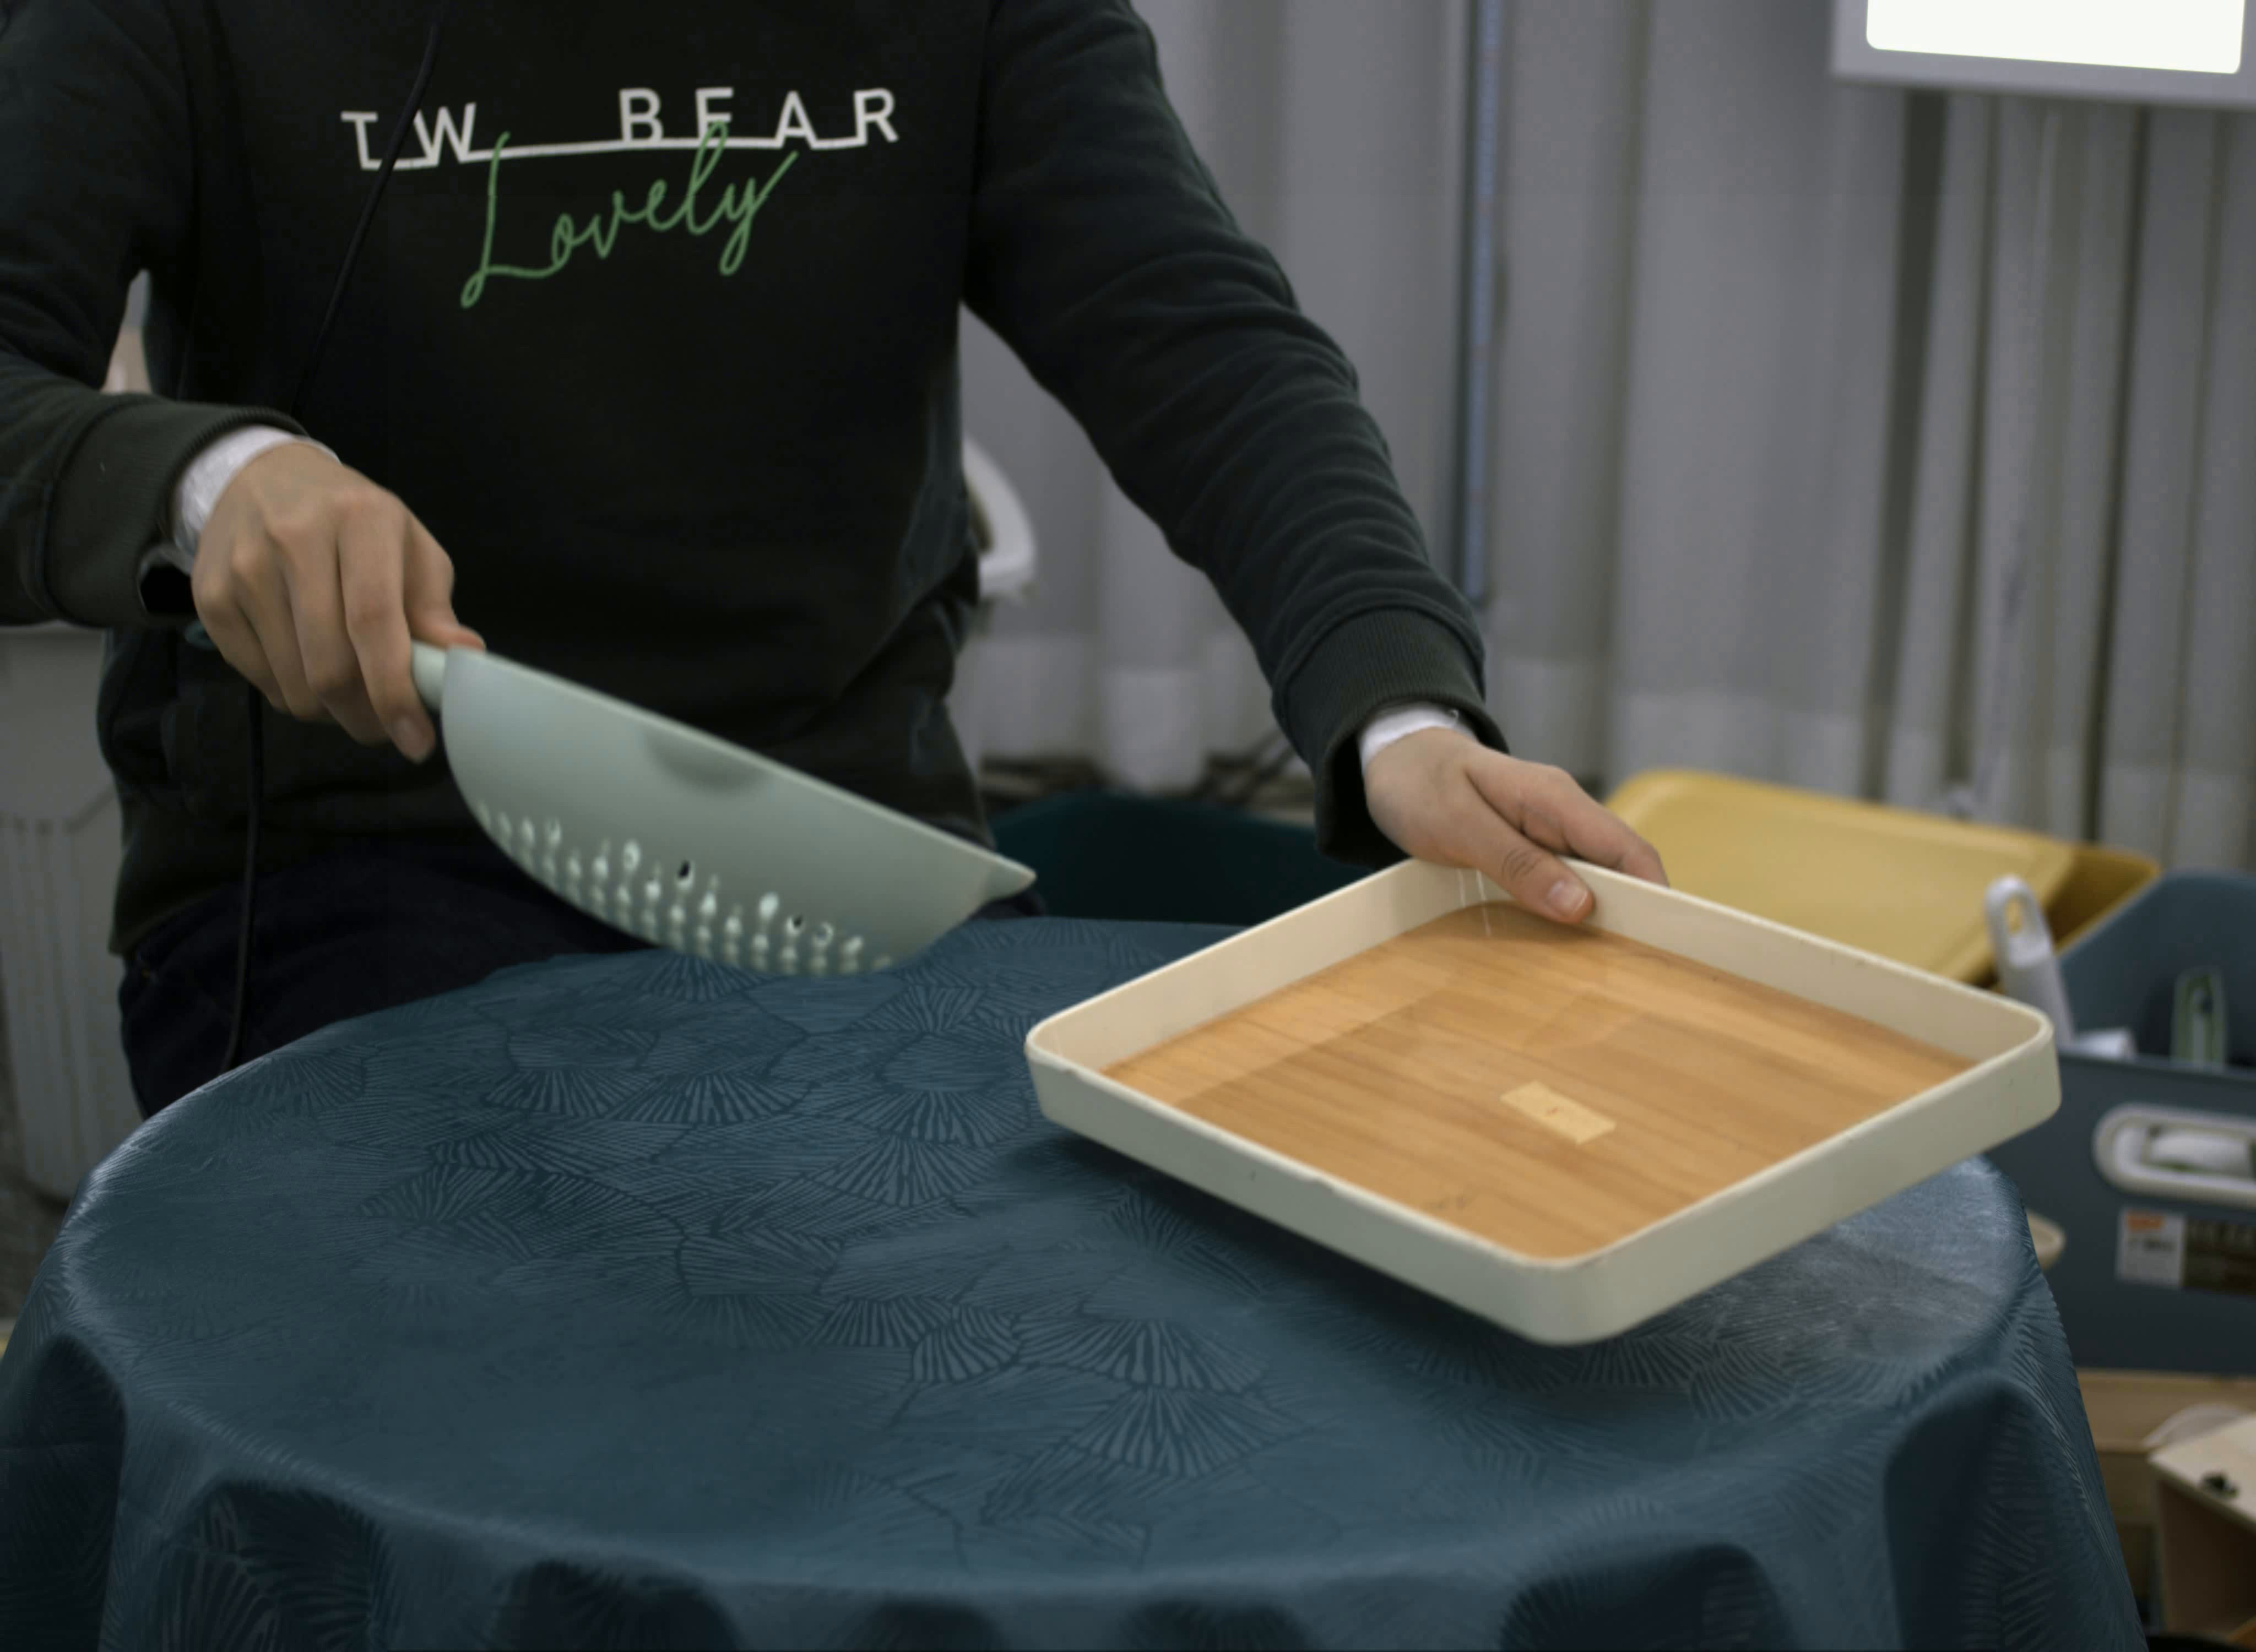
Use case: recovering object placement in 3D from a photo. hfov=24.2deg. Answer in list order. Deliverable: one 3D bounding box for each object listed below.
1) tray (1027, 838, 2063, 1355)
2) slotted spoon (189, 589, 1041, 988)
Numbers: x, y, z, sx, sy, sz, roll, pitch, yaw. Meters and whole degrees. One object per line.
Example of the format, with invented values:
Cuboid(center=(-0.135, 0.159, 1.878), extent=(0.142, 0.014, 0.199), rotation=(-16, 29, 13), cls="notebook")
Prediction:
Cuboid(center=(0.119, 0.075, 1.587), extent=(0.192, 0.028, 0.296), rotation=(-23, 23, -26), cls="tray")
Cuboid(center=(-0.177, -0.028, 1.548), extent=(0.171, 0.075, 0.354), rotation=(24, 5, -43), cls="slotted spoon")
